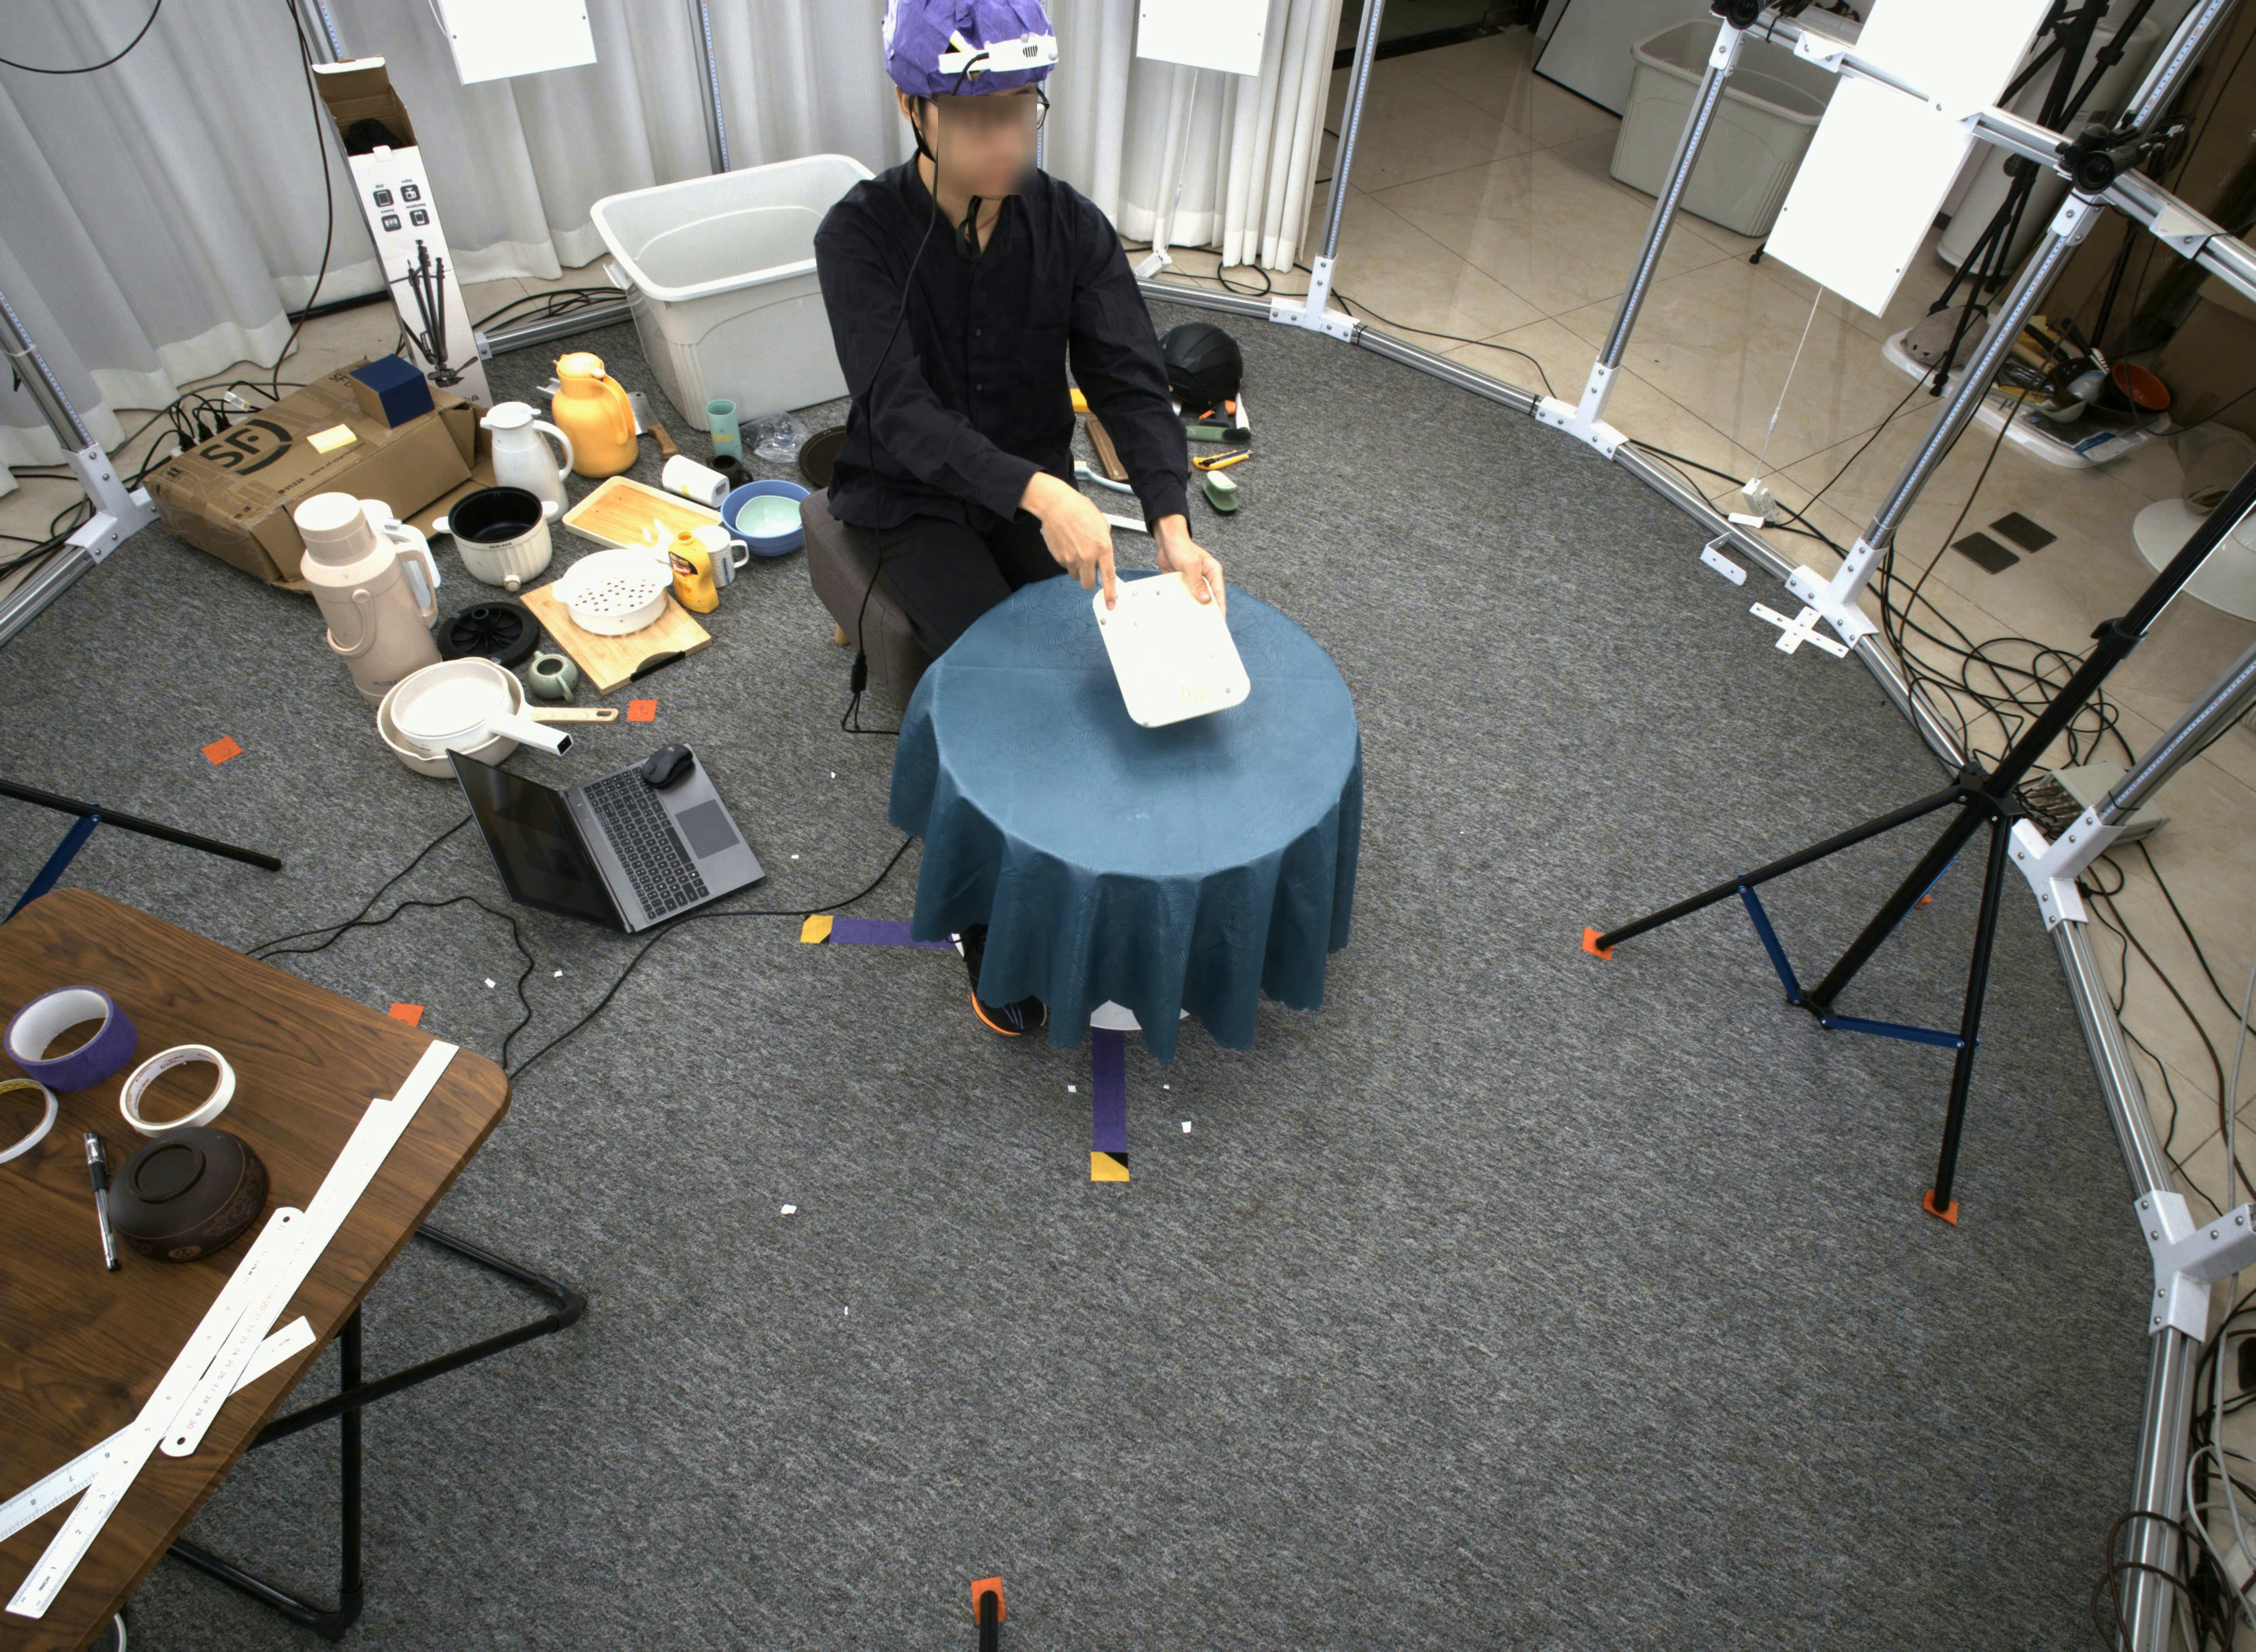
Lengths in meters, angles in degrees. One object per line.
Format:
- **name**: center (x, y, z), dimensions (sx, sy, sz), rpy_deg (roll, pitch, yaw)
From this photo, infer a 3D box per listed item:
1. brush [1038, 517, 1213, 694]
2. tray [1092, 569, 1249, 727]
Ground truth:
- **brush**: center (-0.005, -0.298, 1.762), dimensions (0.327, 0.083, 0.084), rpy_deg (44, 31, 9)
- **tray**: center (0.057, -0.247, 1.773), dimensions (0.171, 0.017, 0.245), rpy_deg (-14, 62, -8)
